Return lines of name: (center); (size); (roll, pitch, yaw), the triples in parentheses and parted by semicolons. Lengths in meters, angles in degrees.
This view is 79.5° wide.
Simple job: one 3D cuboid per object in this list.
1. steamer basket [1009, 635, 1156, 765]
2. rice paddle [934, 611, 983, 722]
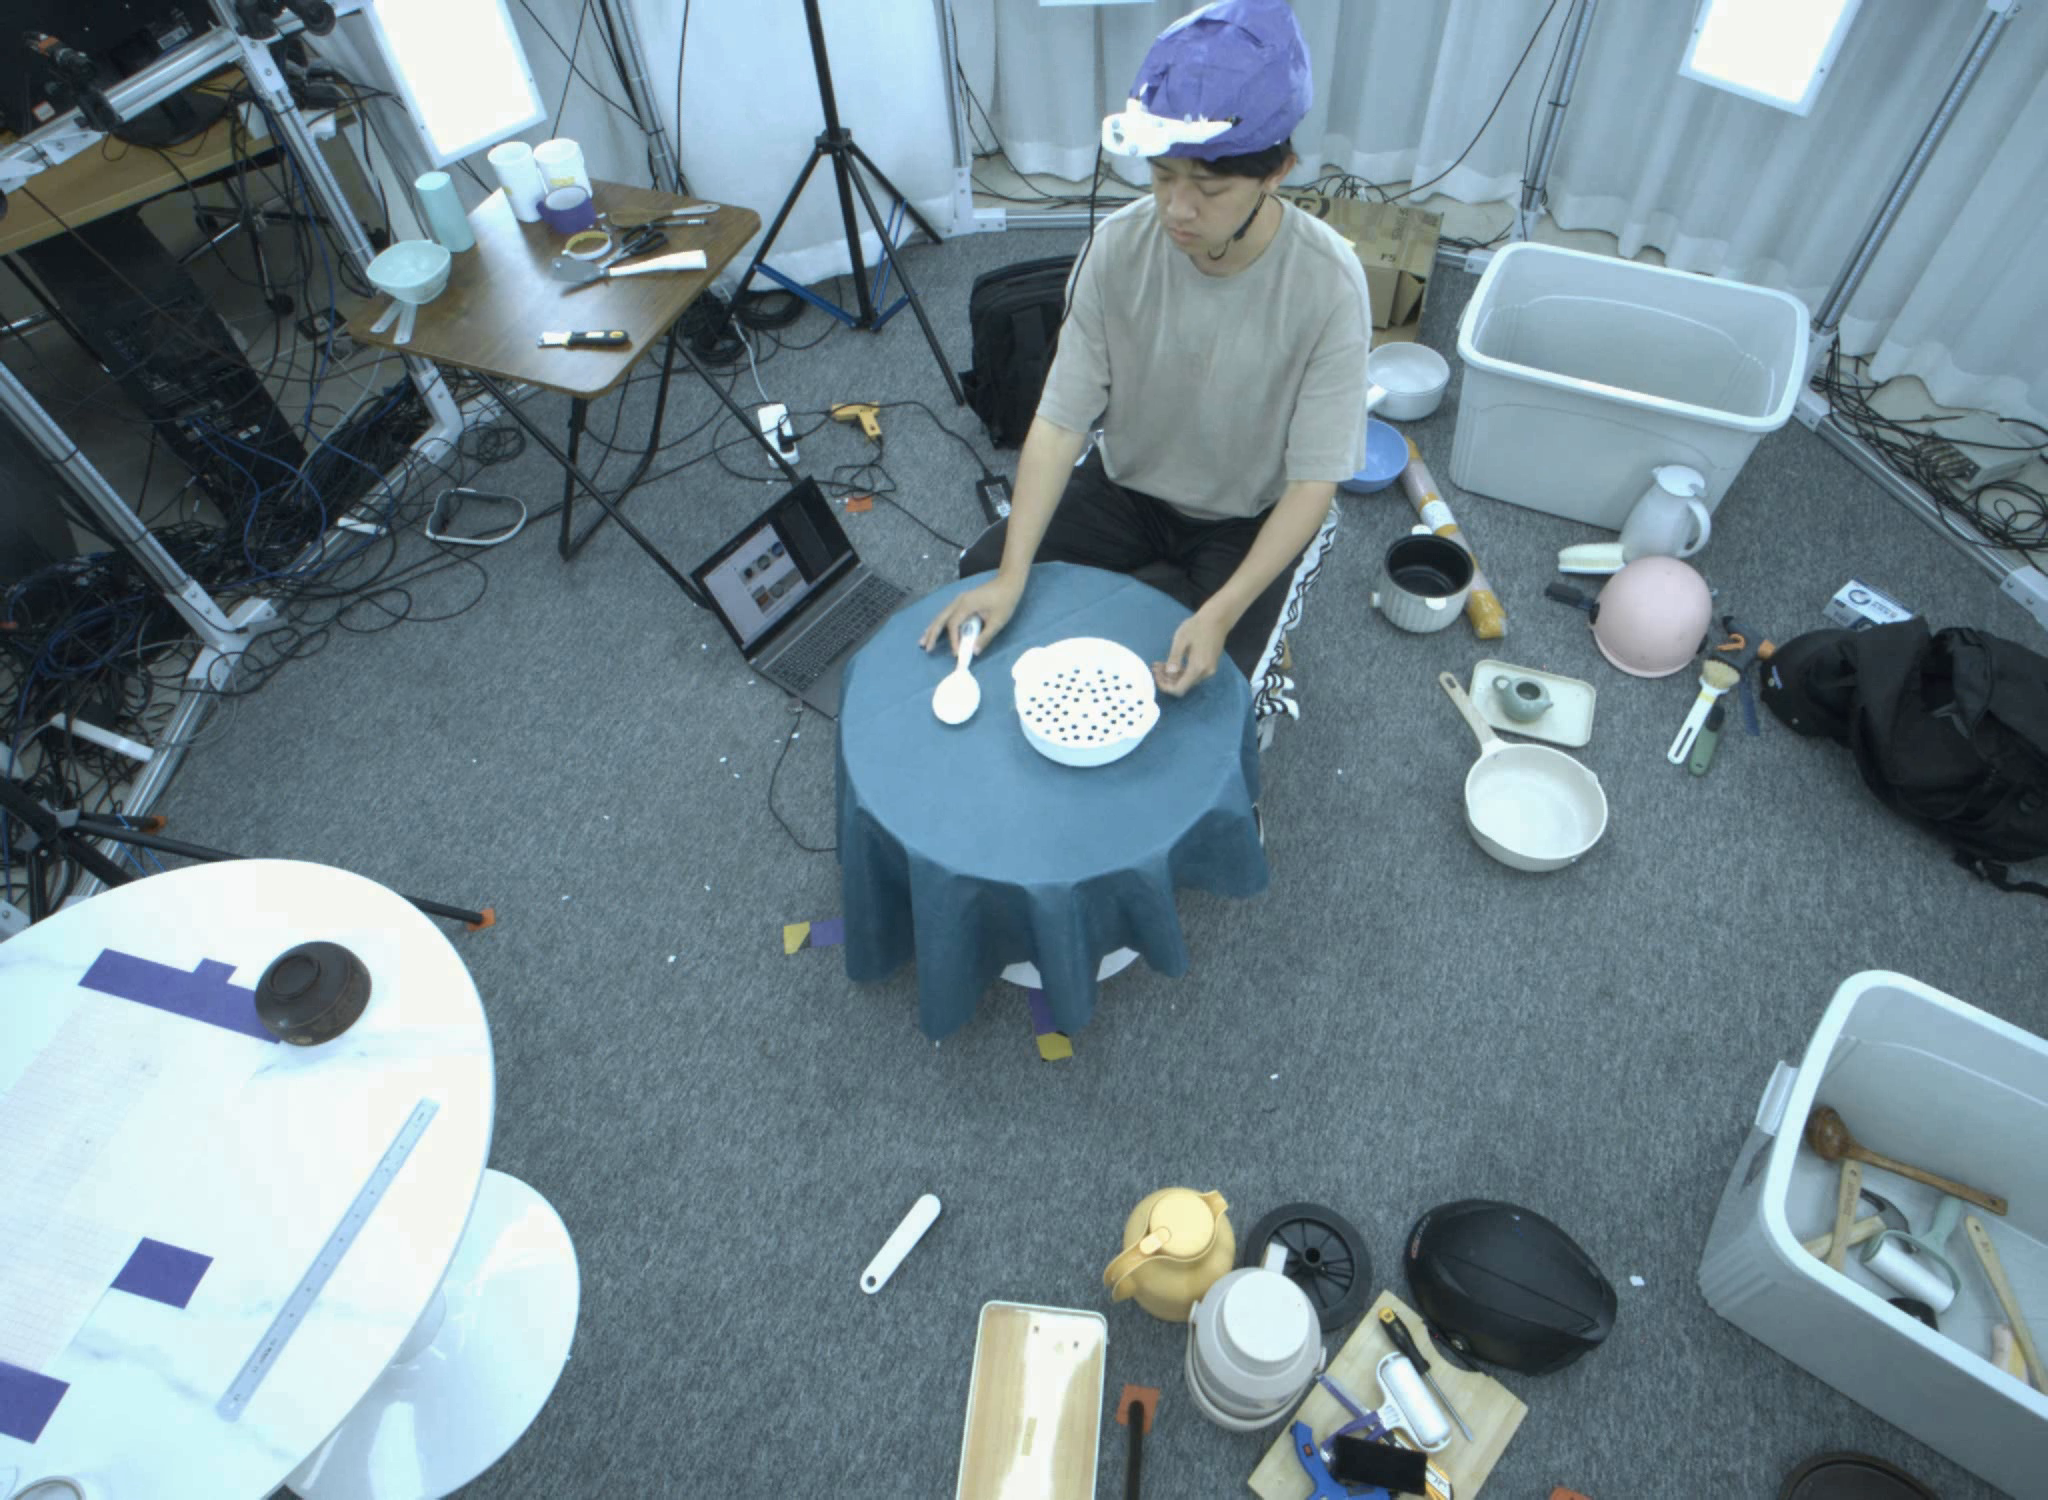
steamer basket: (0.084, -0.070, 1.791); (0.227, 0.070, 0.203); (29, 62, 19)
rice paddle: (-0.092, -0.125, 1.858); (0.068, 0.030, 0.204); (4, 55, 7)
